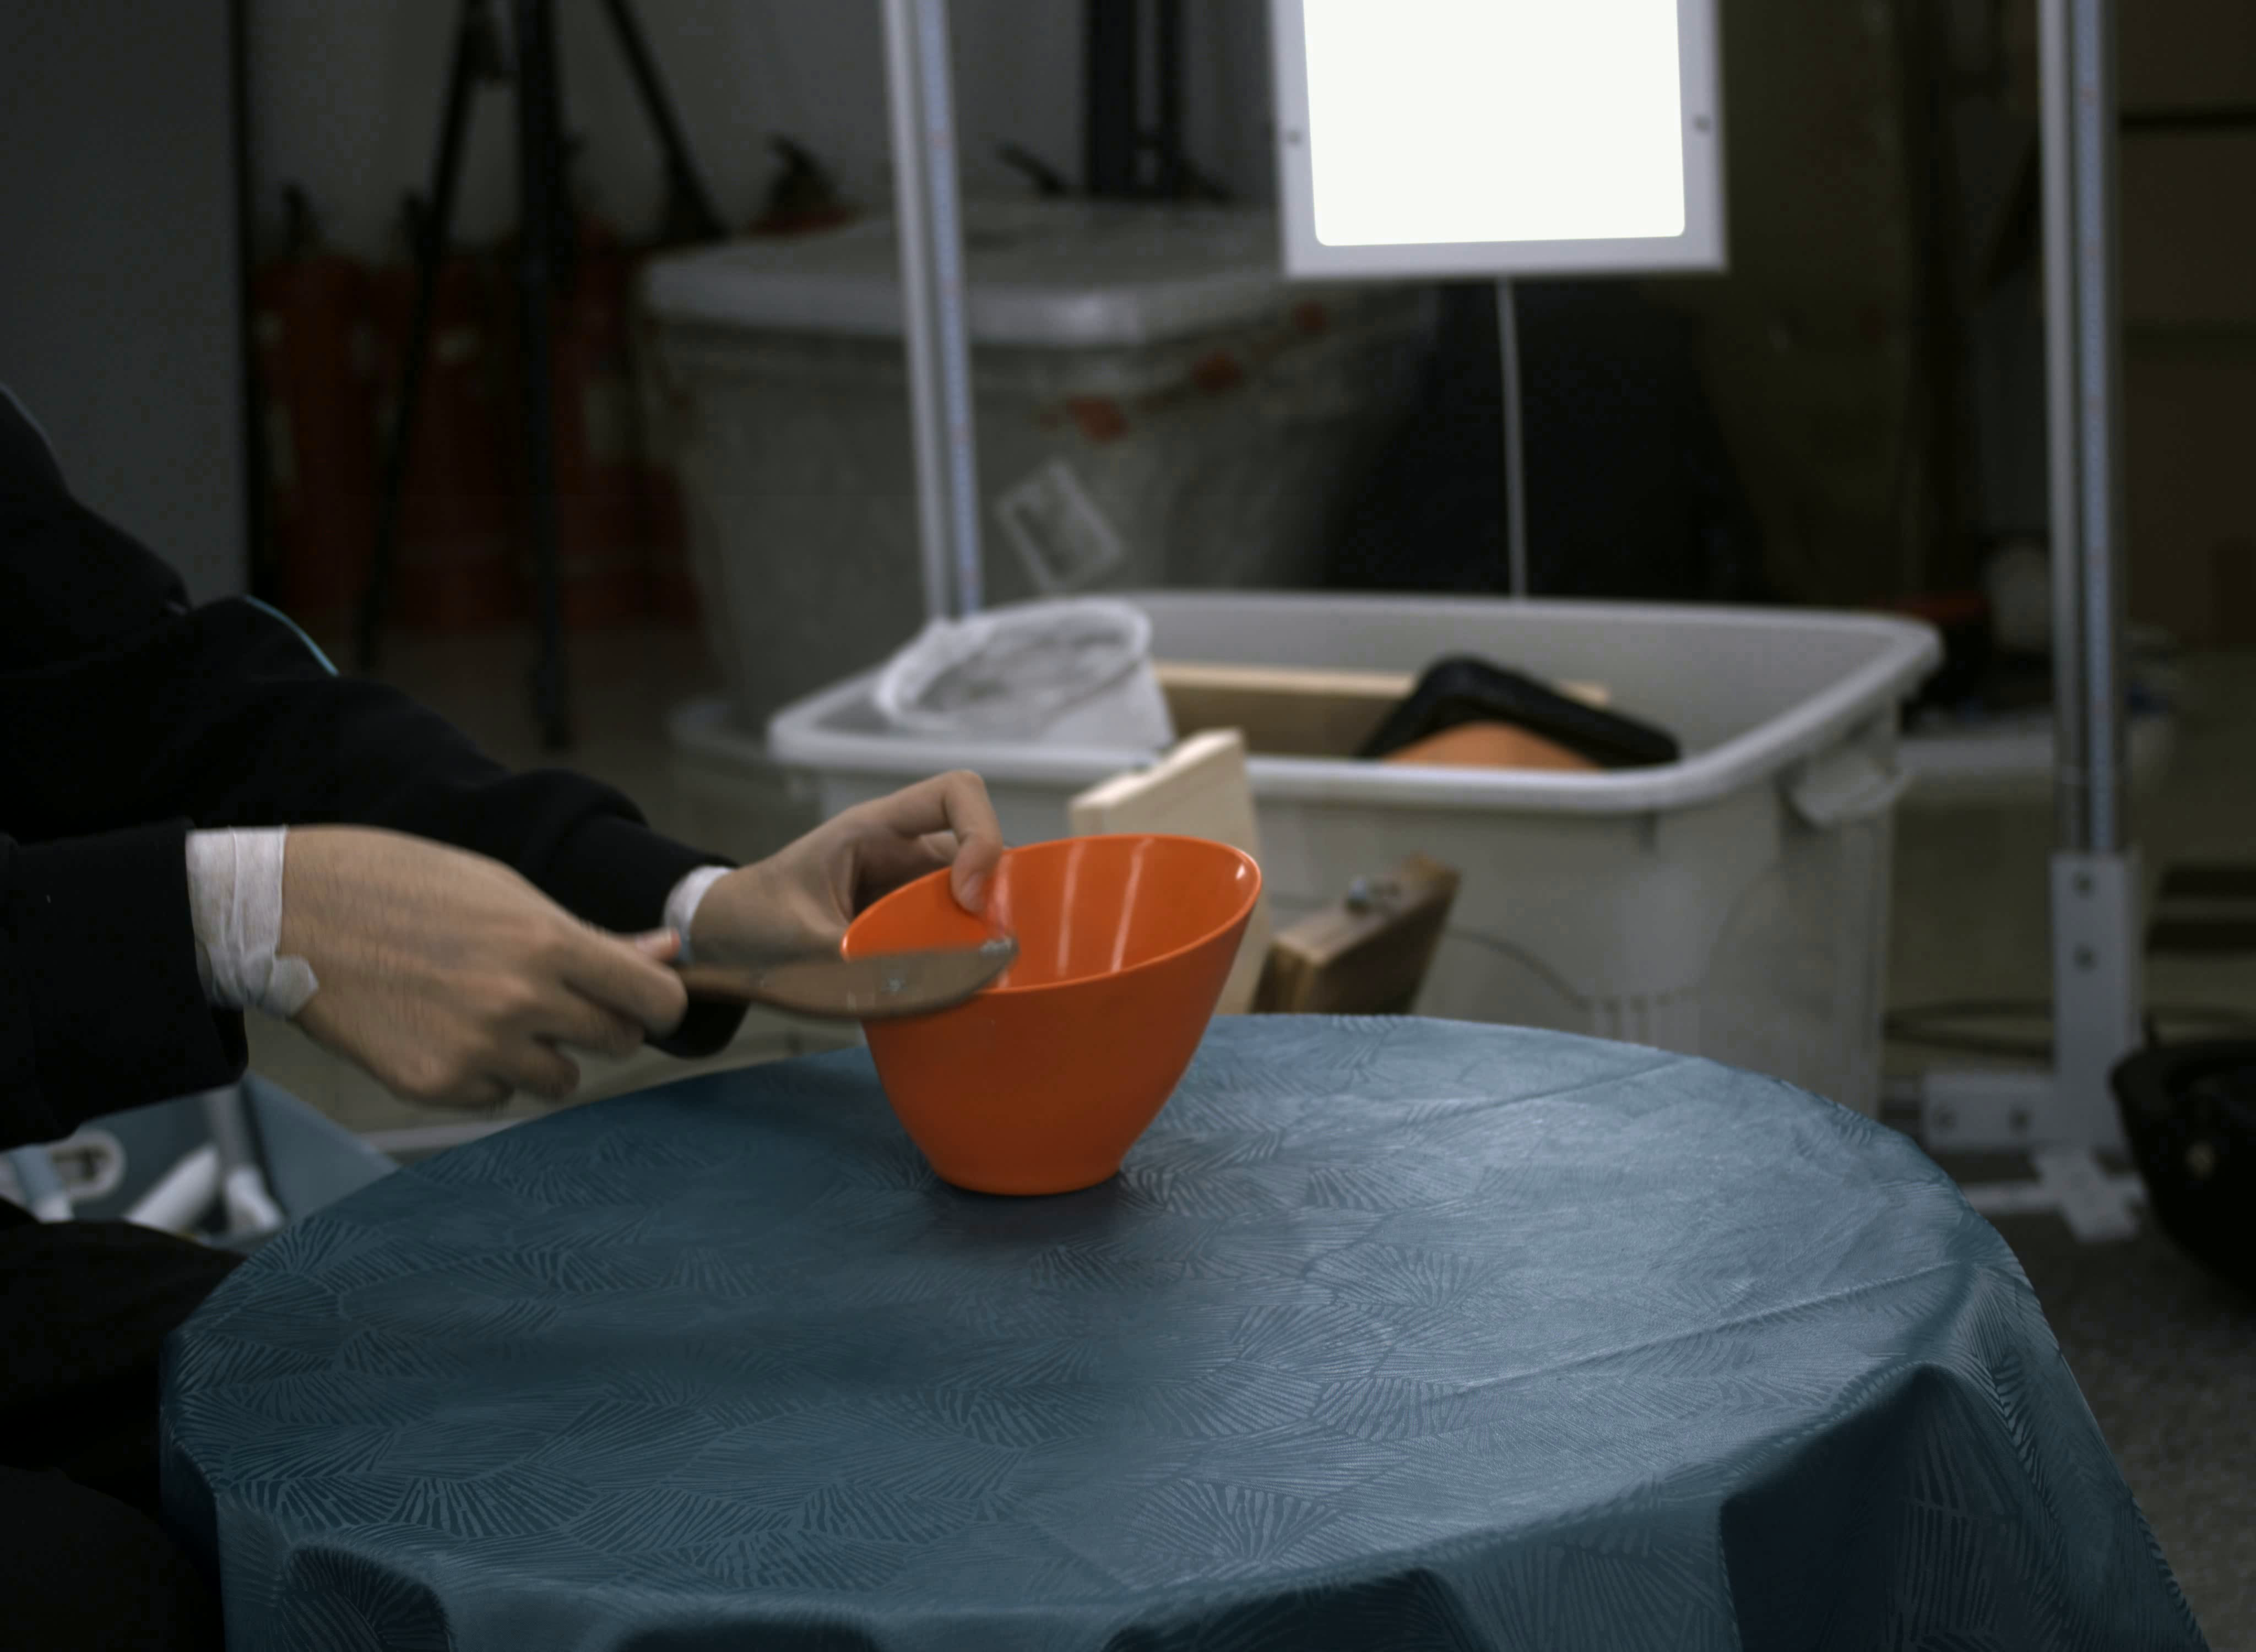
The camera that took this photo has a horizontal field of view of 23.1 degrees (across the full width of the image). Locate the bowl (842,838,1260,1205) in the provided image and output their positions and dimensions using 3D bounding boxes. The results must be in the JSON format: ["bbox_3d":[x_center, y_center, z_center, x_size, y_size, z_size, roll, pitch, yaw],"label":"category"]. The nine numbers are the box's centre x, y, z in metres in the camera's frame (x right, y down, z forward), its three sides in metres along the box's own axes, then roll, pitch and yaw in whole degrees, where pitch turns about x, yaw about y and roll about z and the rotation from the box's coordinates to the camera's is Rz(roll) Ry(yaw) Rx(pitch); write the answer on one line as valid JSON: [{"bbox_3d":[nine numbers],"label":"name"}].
[{"bbox_3d":[-0.025,0.071,1.918,0.147,0.105,0.148,-3,15,-1],"label":"bowl"}]

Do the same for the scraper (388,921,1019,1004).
[{"bbox_3d":[-0.140,0.045,1.784,0.214,0.011,0.074,-1,14,19],"label":"scraper"}]
